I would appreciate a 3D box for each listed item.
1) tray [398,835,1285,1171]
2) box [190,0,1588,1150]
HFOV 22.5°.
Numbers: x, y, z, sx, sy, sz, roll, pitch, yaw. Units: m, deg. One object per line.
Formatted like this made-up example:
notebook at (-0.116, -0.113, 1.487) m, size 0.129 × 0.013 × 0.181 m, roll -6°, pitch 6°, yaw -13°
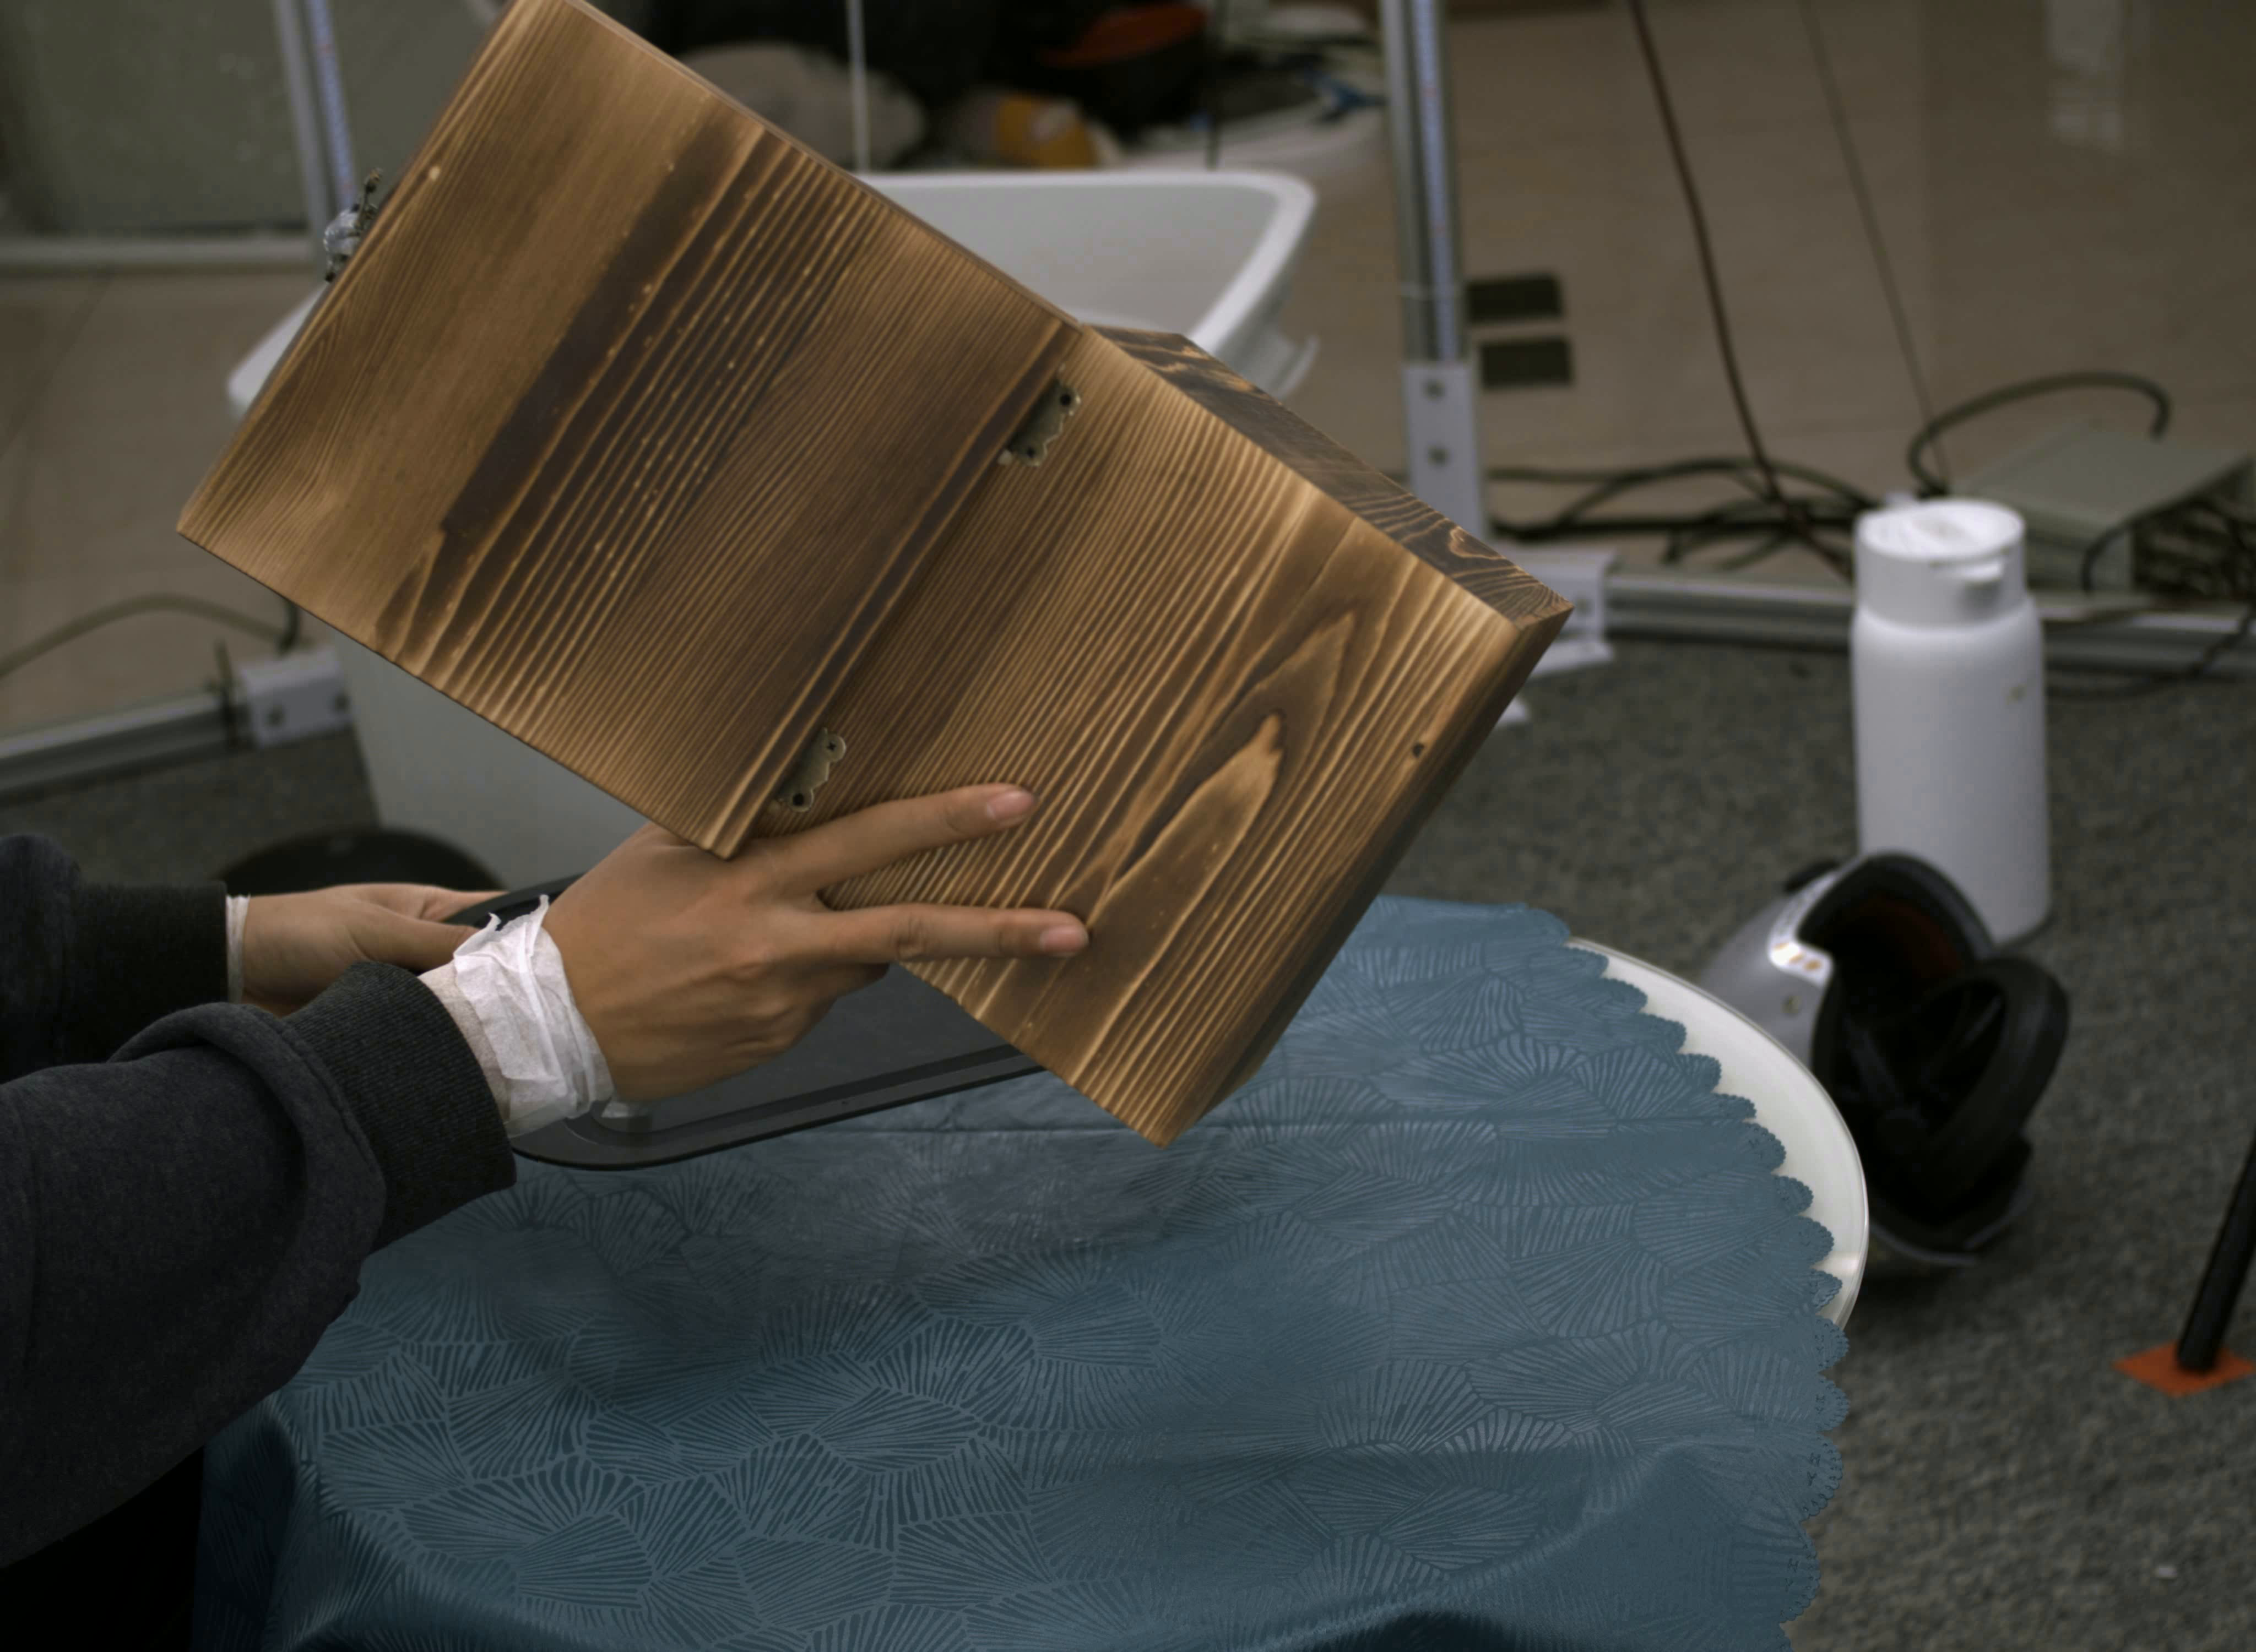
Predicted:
tray at (-0.113, 0.051, 2.142) m, size 0.324 × 0.010 × 0.208 m, roll -13°, pitch 32°, yaw -18°
box at (-0.069, -0.089, 1.831) m, size 0.374 × 0.210 × 0.321 m, roll 37°, pitch 9°, yaw 4°
